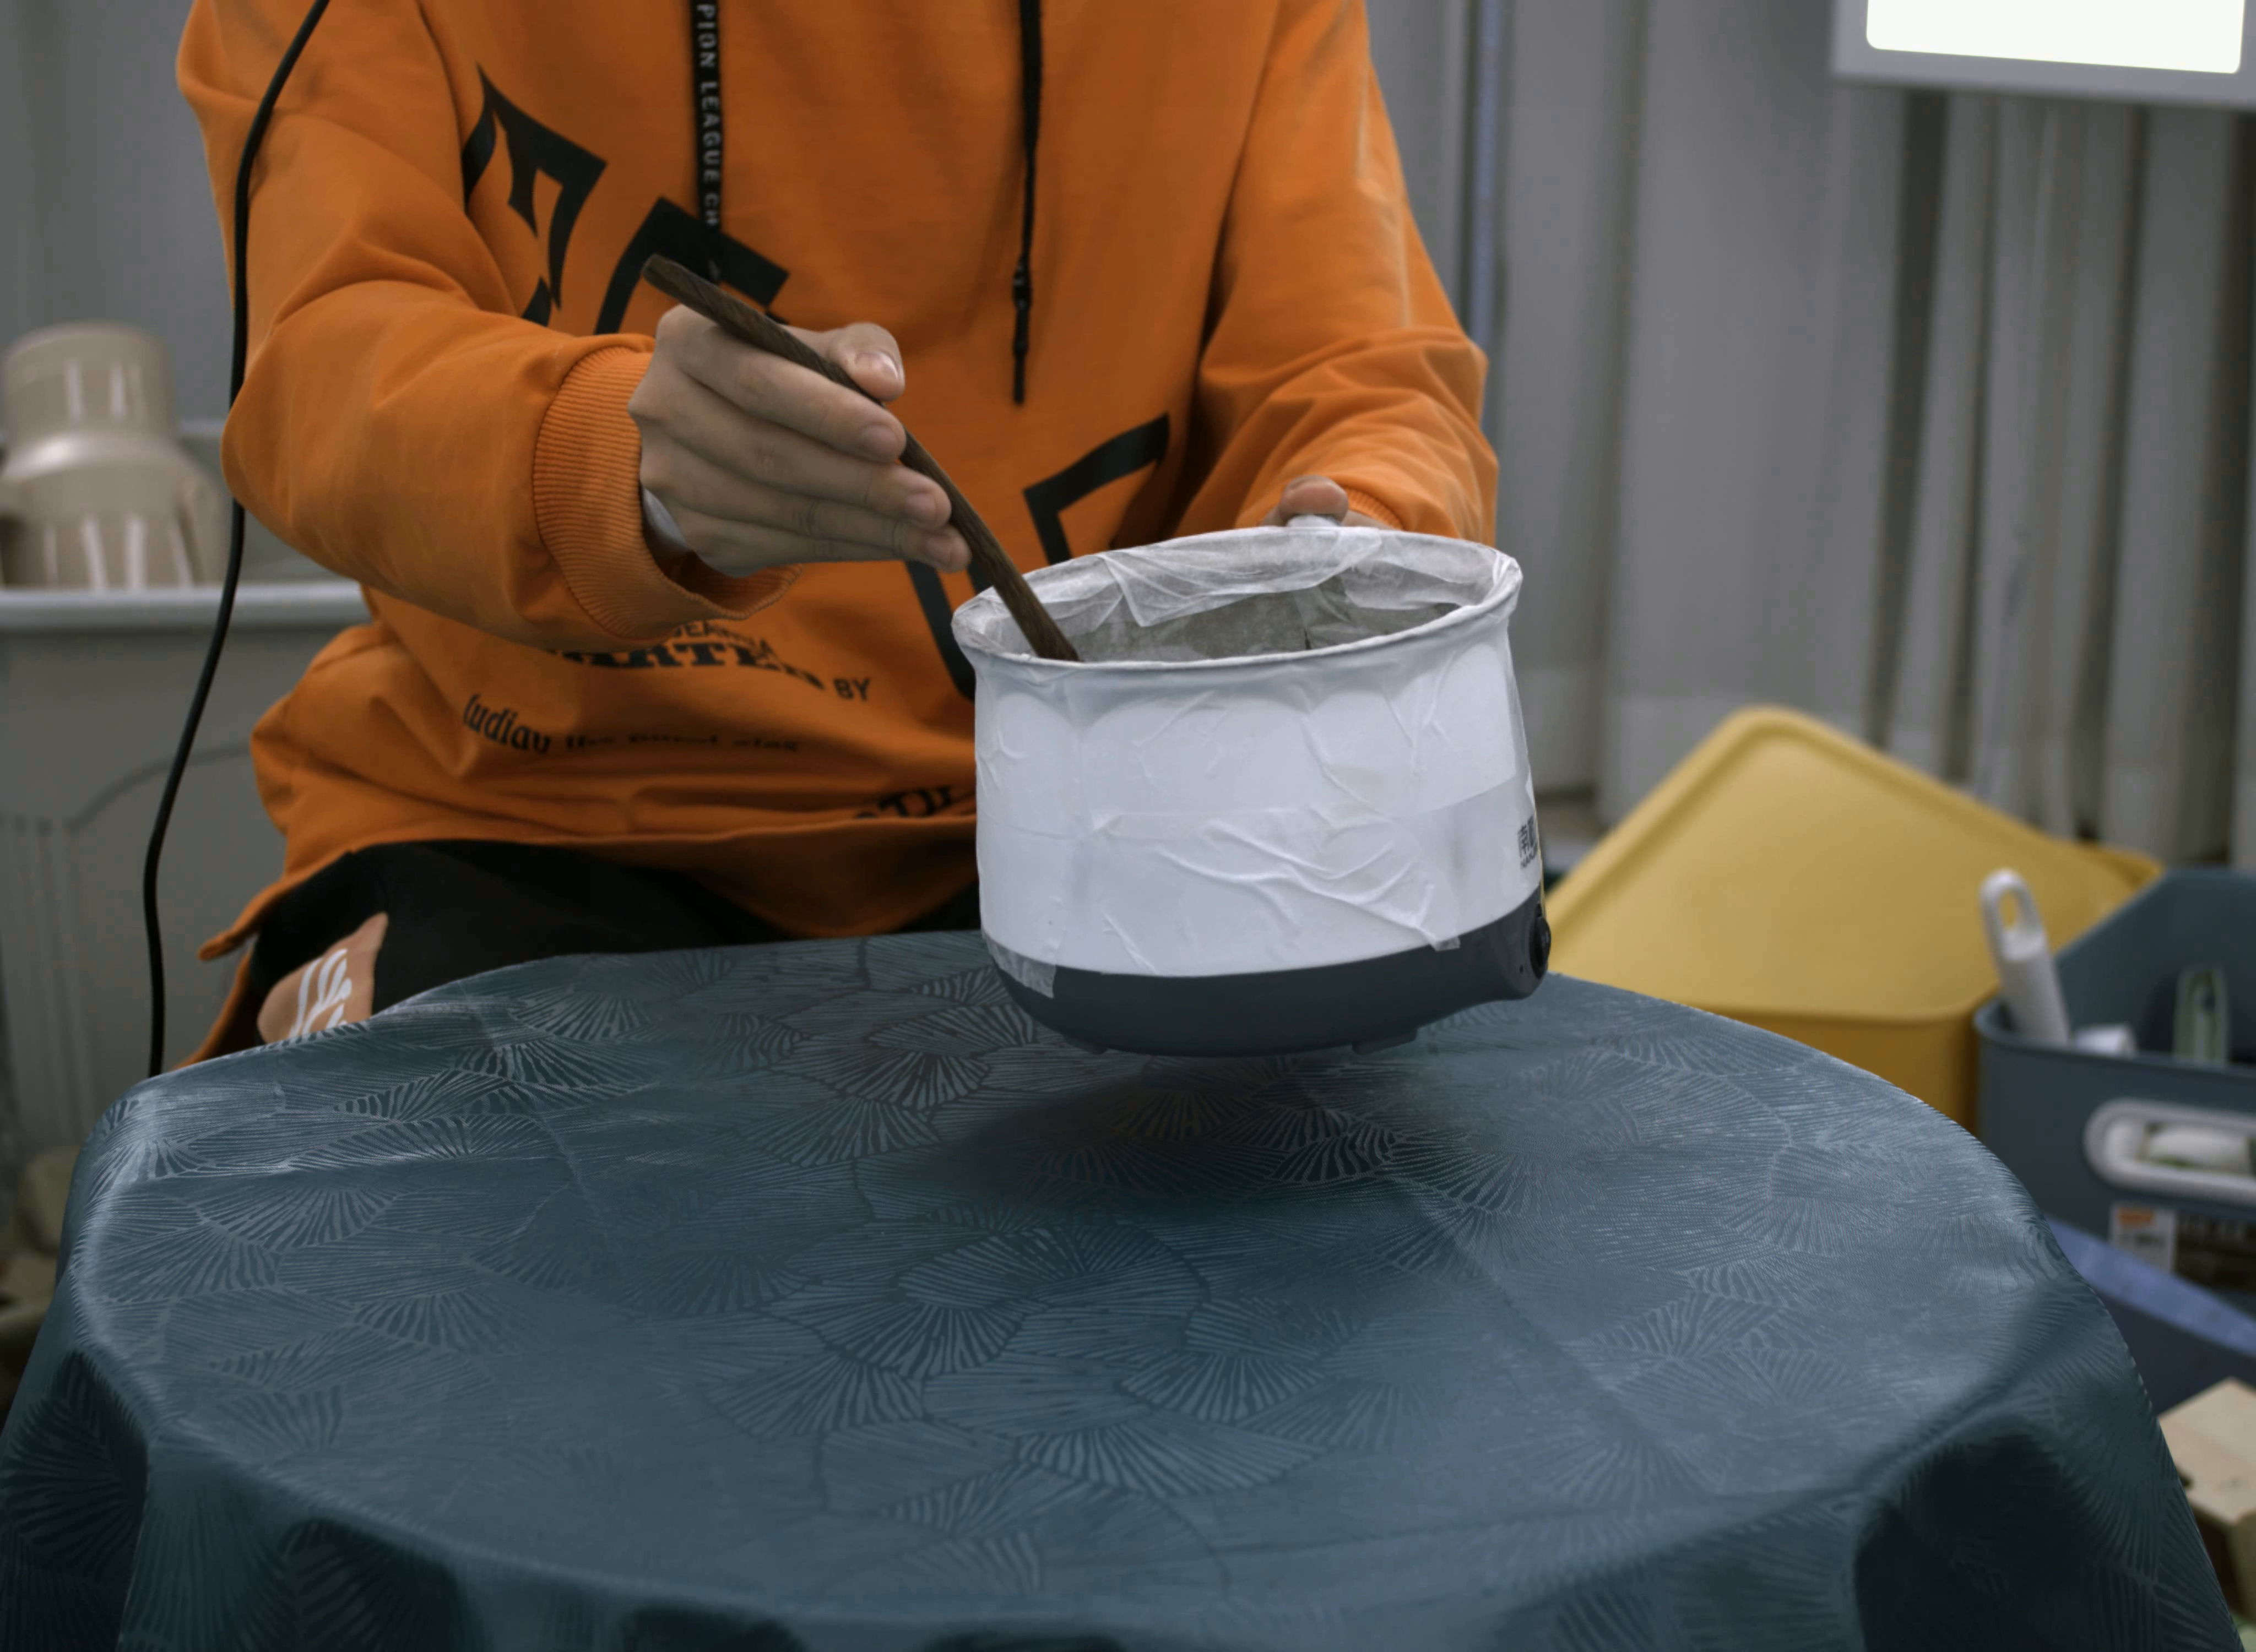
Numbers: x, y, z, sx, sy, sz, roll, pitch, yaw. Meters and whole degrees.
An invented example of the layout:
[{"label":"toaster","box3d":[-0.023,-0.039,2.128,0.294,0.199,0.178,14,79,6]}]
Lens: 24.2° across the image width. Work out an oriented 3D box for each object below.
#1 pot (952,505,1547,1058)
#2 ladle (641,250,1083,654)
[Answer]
[{"label":"pot","box3d":[0.046,-0.019,1.664,0.177,0.138,0.233,-1,16,14]},{"label":"ladle","box3d":[-0.030,-0.094,1.605,0.071,0.275,0.075,-44,9,-9]}]
